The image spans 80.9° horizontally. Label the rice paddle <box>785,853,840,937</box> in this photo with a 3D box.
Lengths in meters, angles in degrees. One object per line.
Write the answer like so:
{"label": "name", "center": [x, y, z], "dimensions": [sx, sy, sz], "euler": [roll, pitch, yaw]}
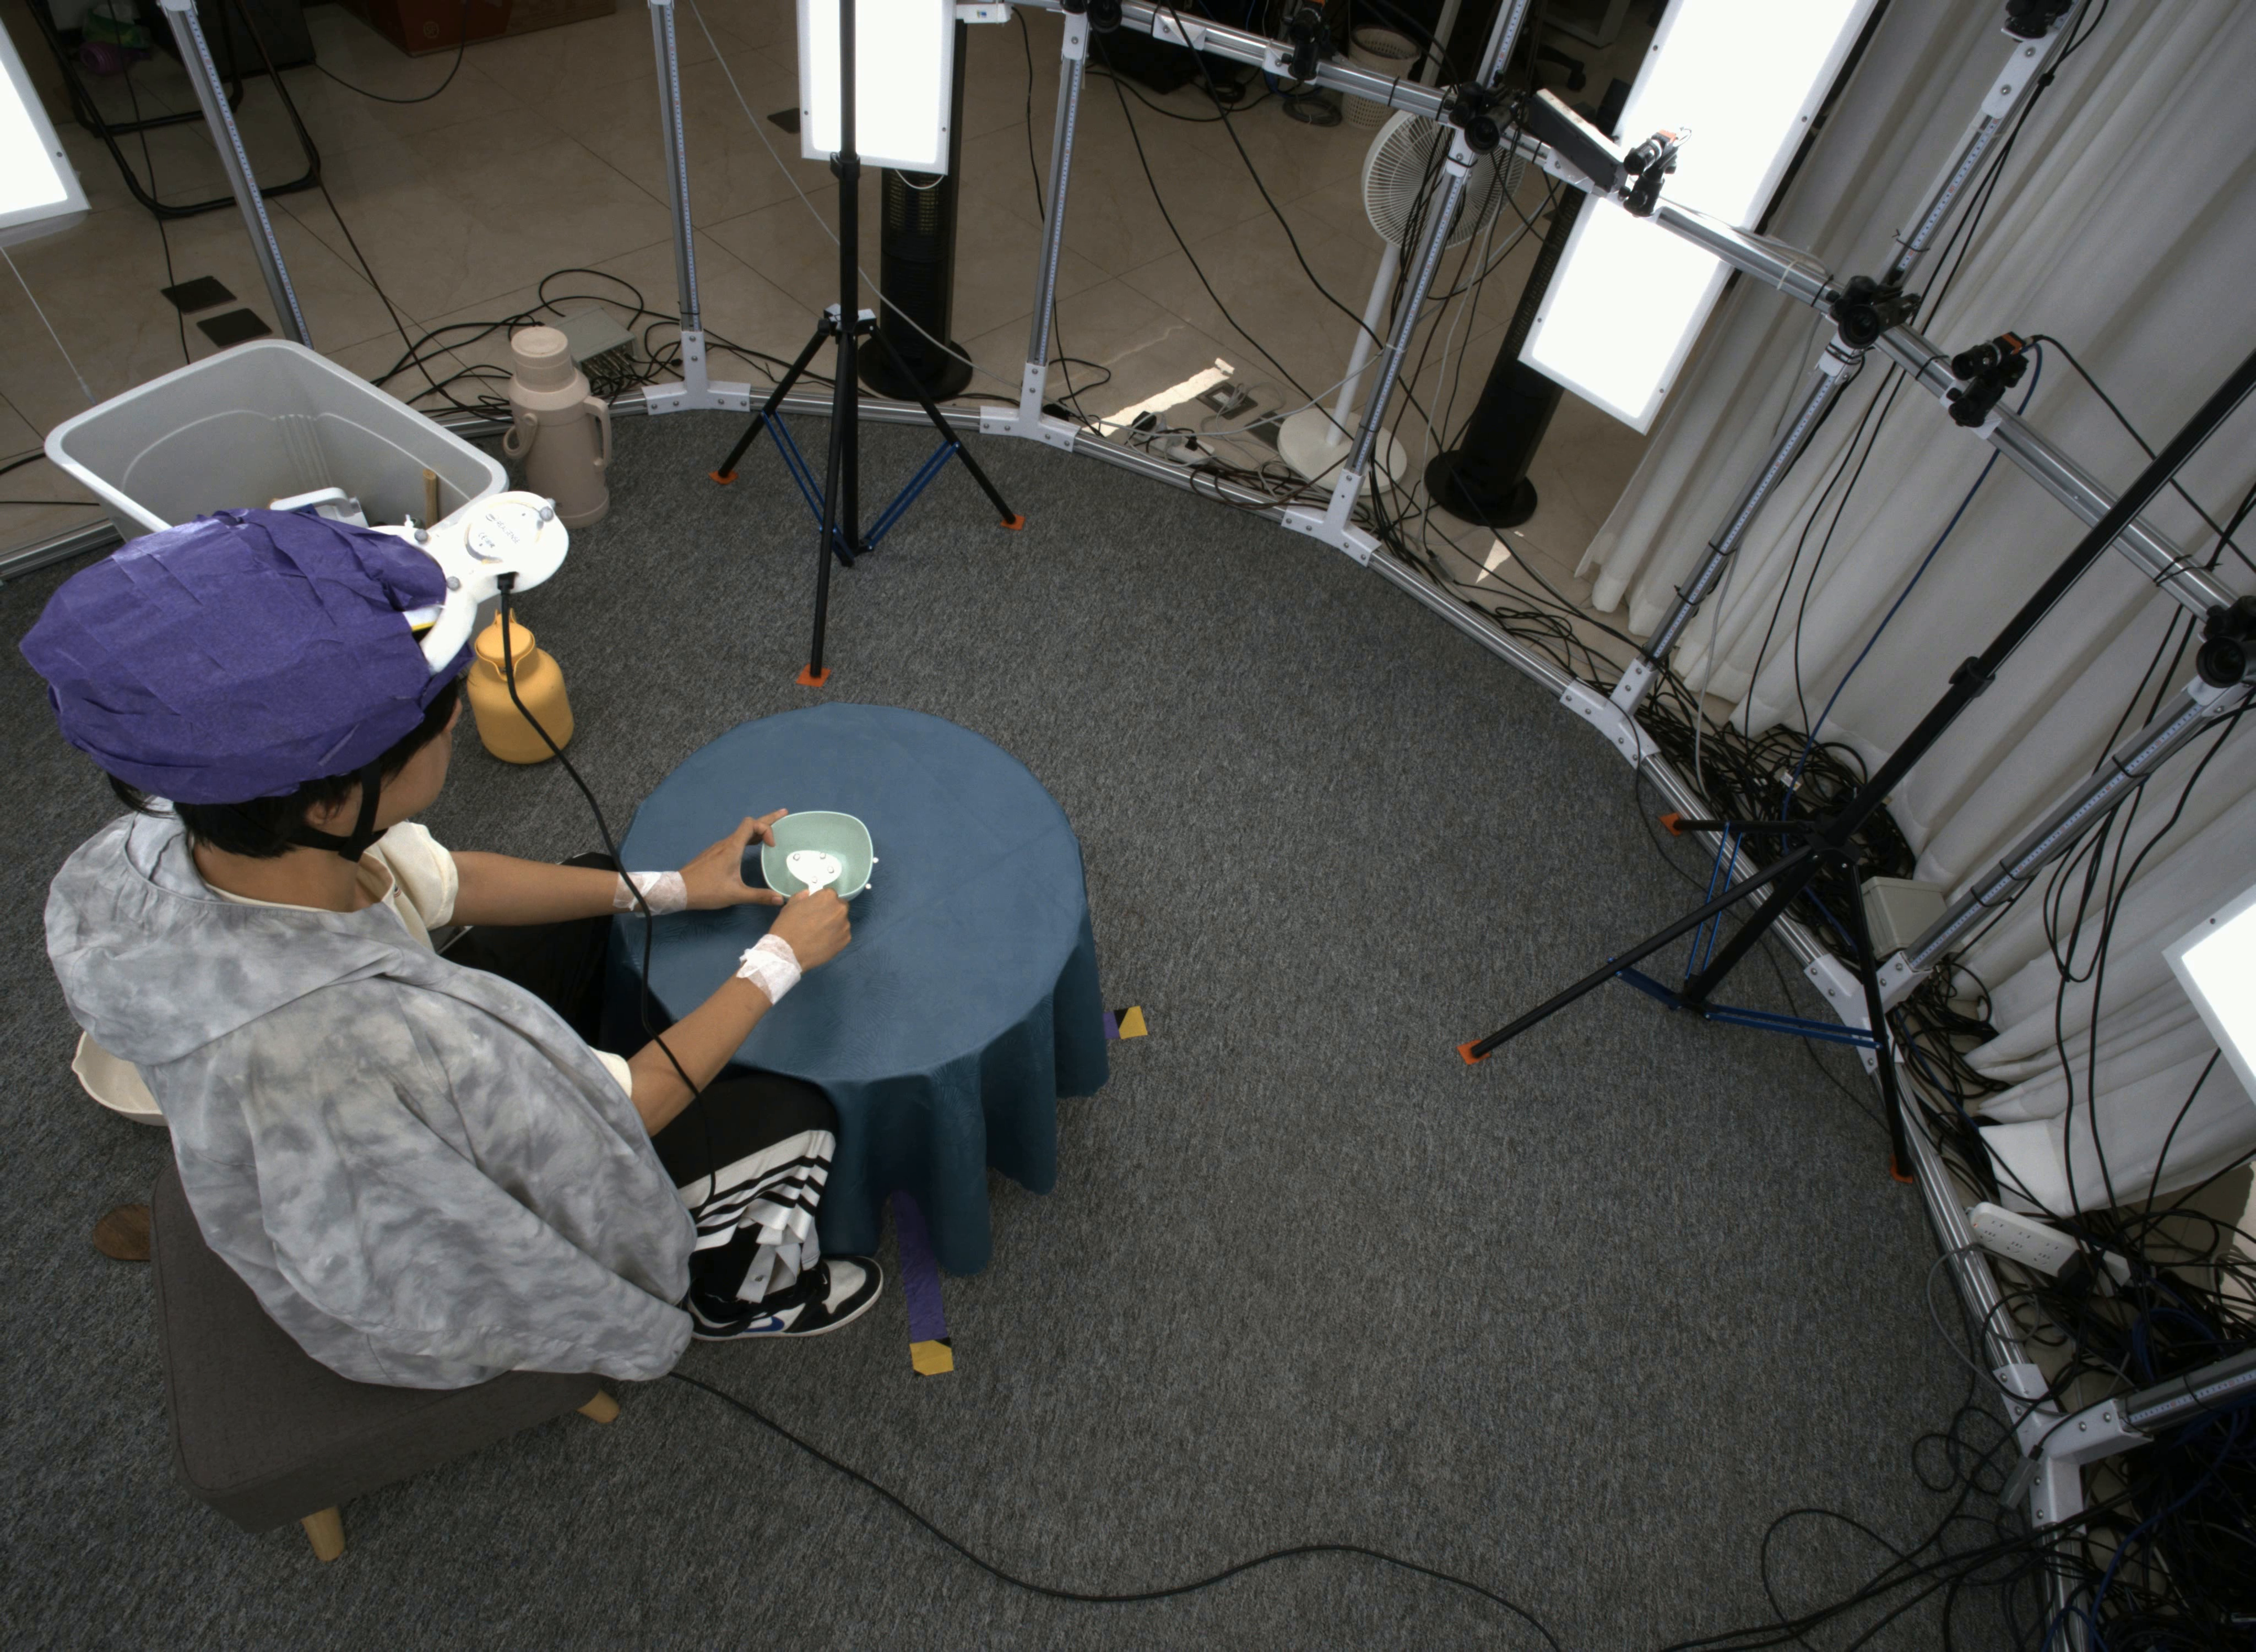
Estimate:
{"label": "rice paddle", "center": [-0.384, 0.072, 1.588], "dimensions": [0.069, 0.030, 0.199], "euler": [8, 22, -19]}

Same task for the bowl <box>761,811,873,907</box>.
{"label": "bowl", "center": [-0.396, 0.052, 1.659], "dimensions": [0.151, 0.060, 0.149], "euler": [8, 53, -9]}
